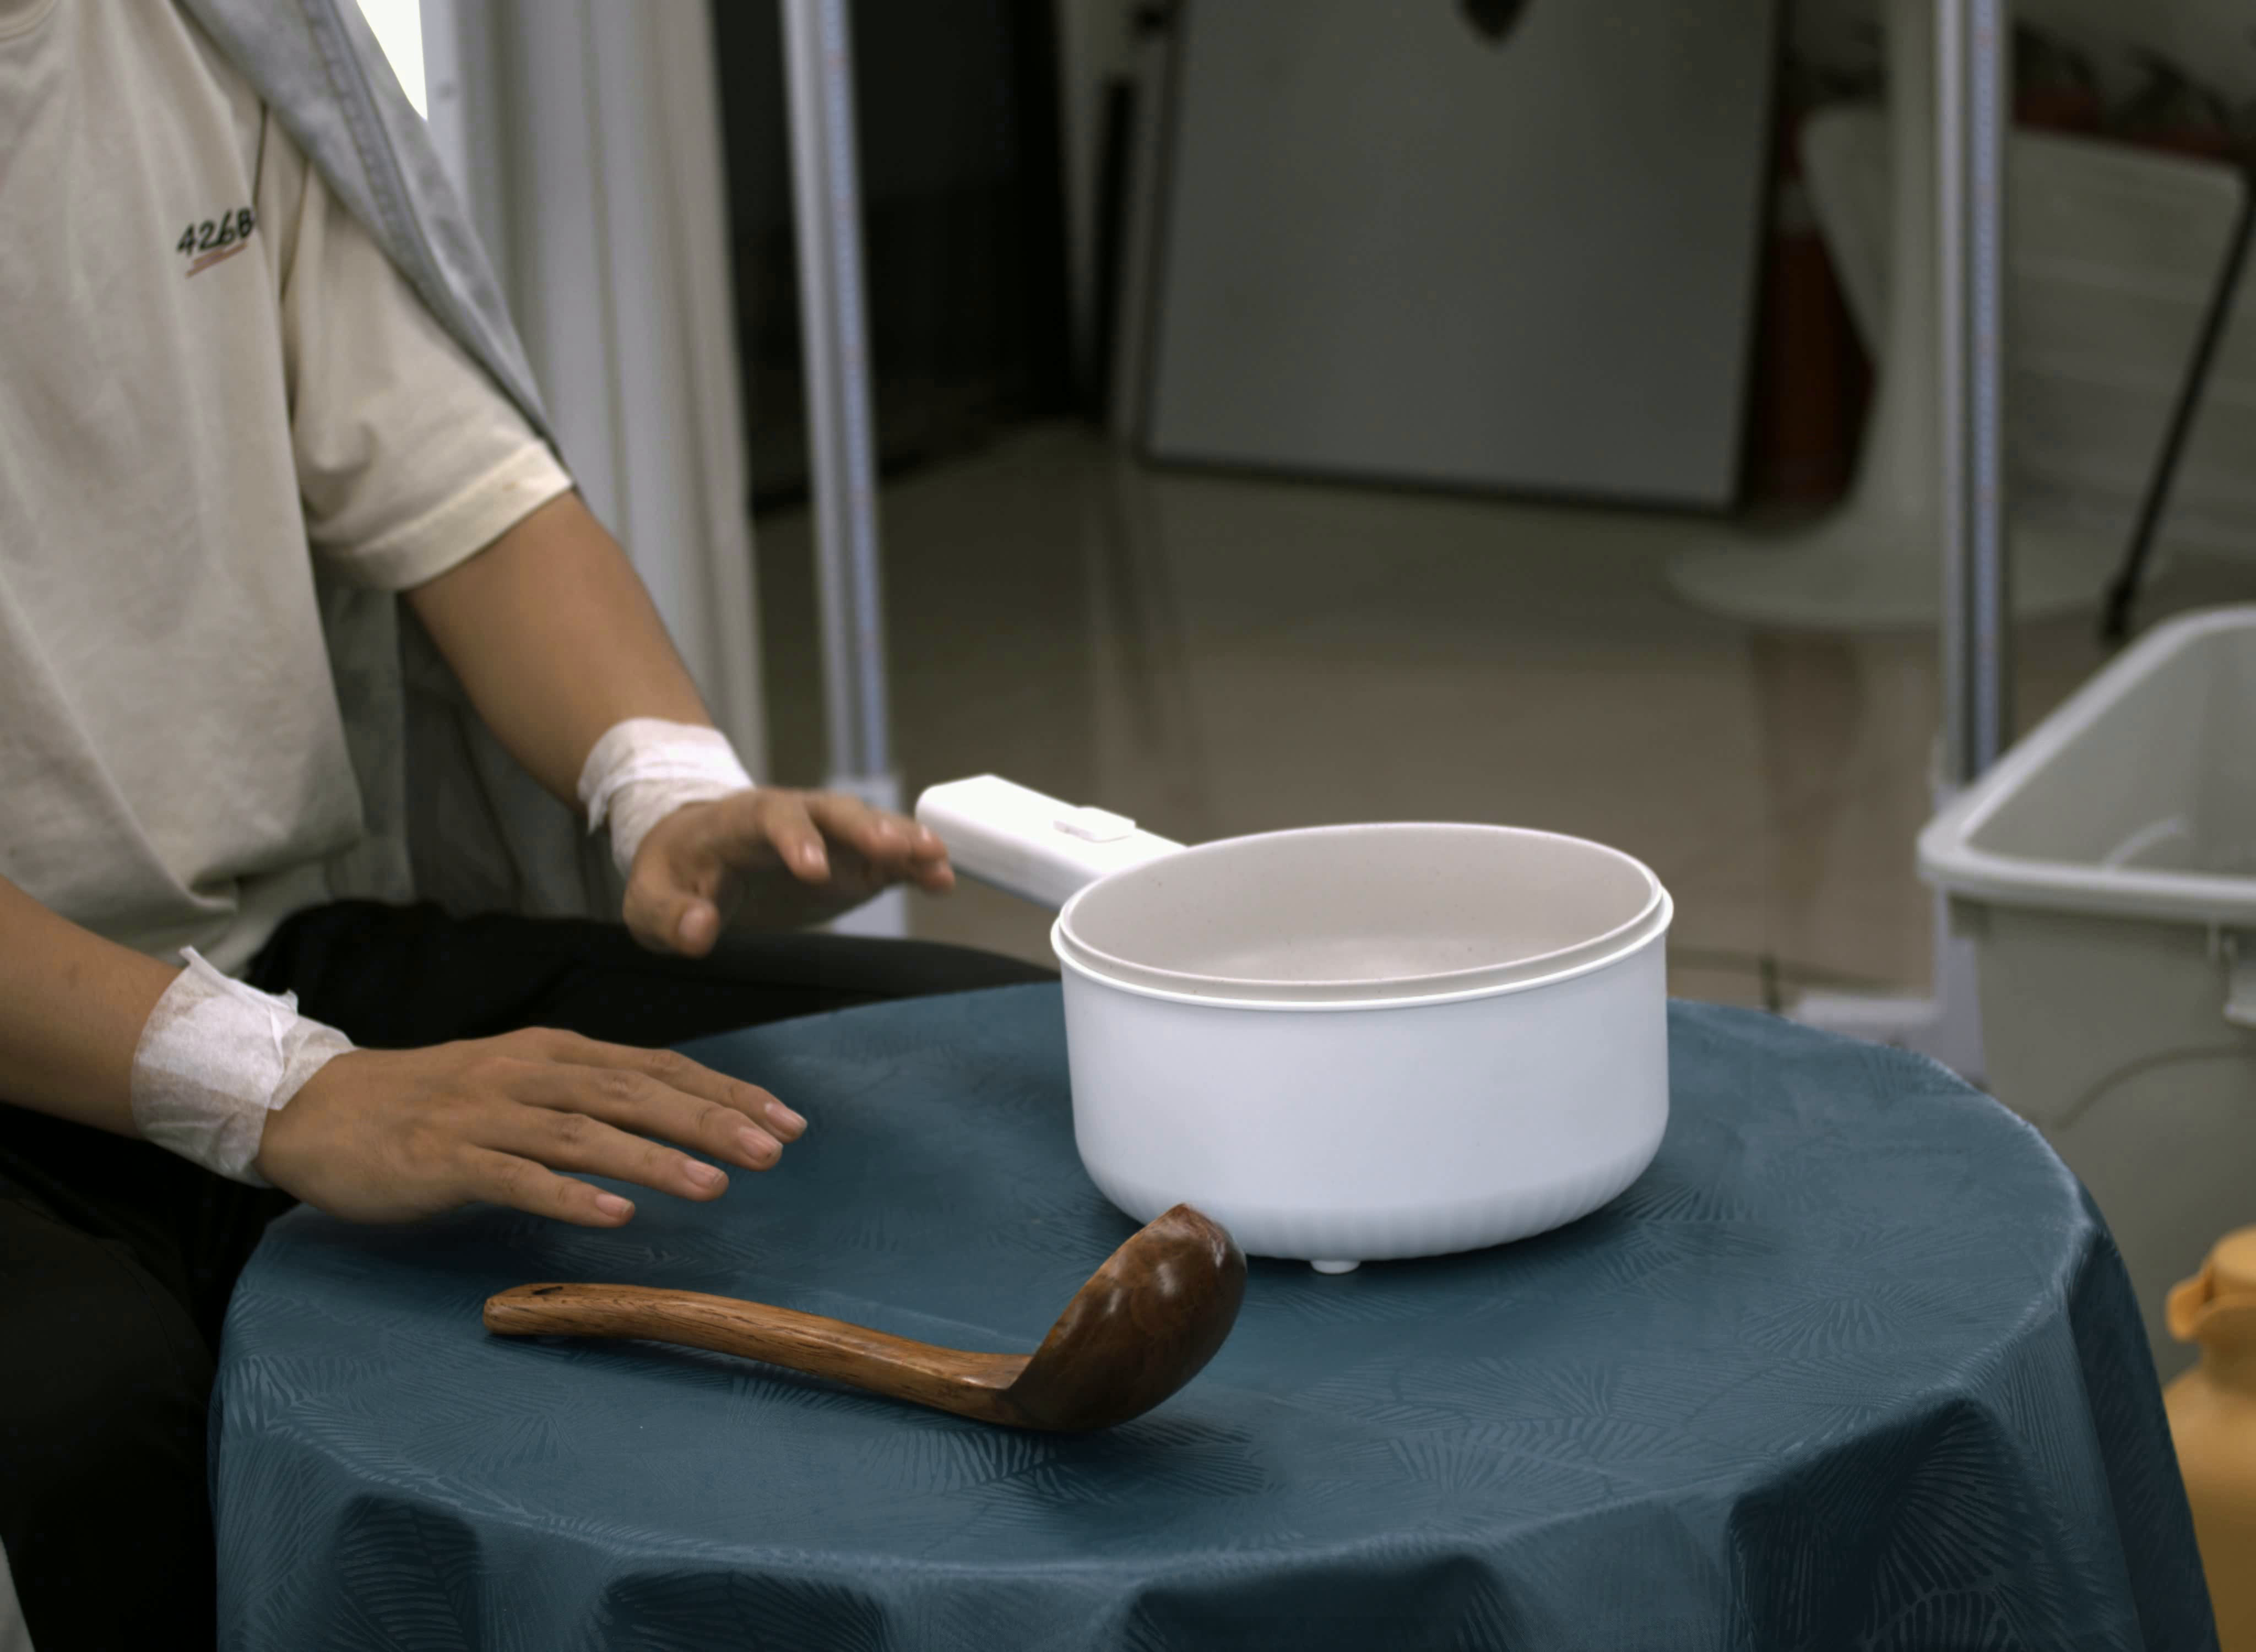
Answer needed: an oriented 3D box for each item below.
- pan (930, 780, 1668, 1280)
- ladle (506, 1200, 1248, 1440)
[{"bbox_3d":[0.037,0.061,1.805,0.197,0.103,0.358,-13,16,-29],"label":"pan"},{"bbox_3d":[-0.083,0.131,1.597,0.276,0.077,0.080,8,9,38],"label":"ladle"}]
